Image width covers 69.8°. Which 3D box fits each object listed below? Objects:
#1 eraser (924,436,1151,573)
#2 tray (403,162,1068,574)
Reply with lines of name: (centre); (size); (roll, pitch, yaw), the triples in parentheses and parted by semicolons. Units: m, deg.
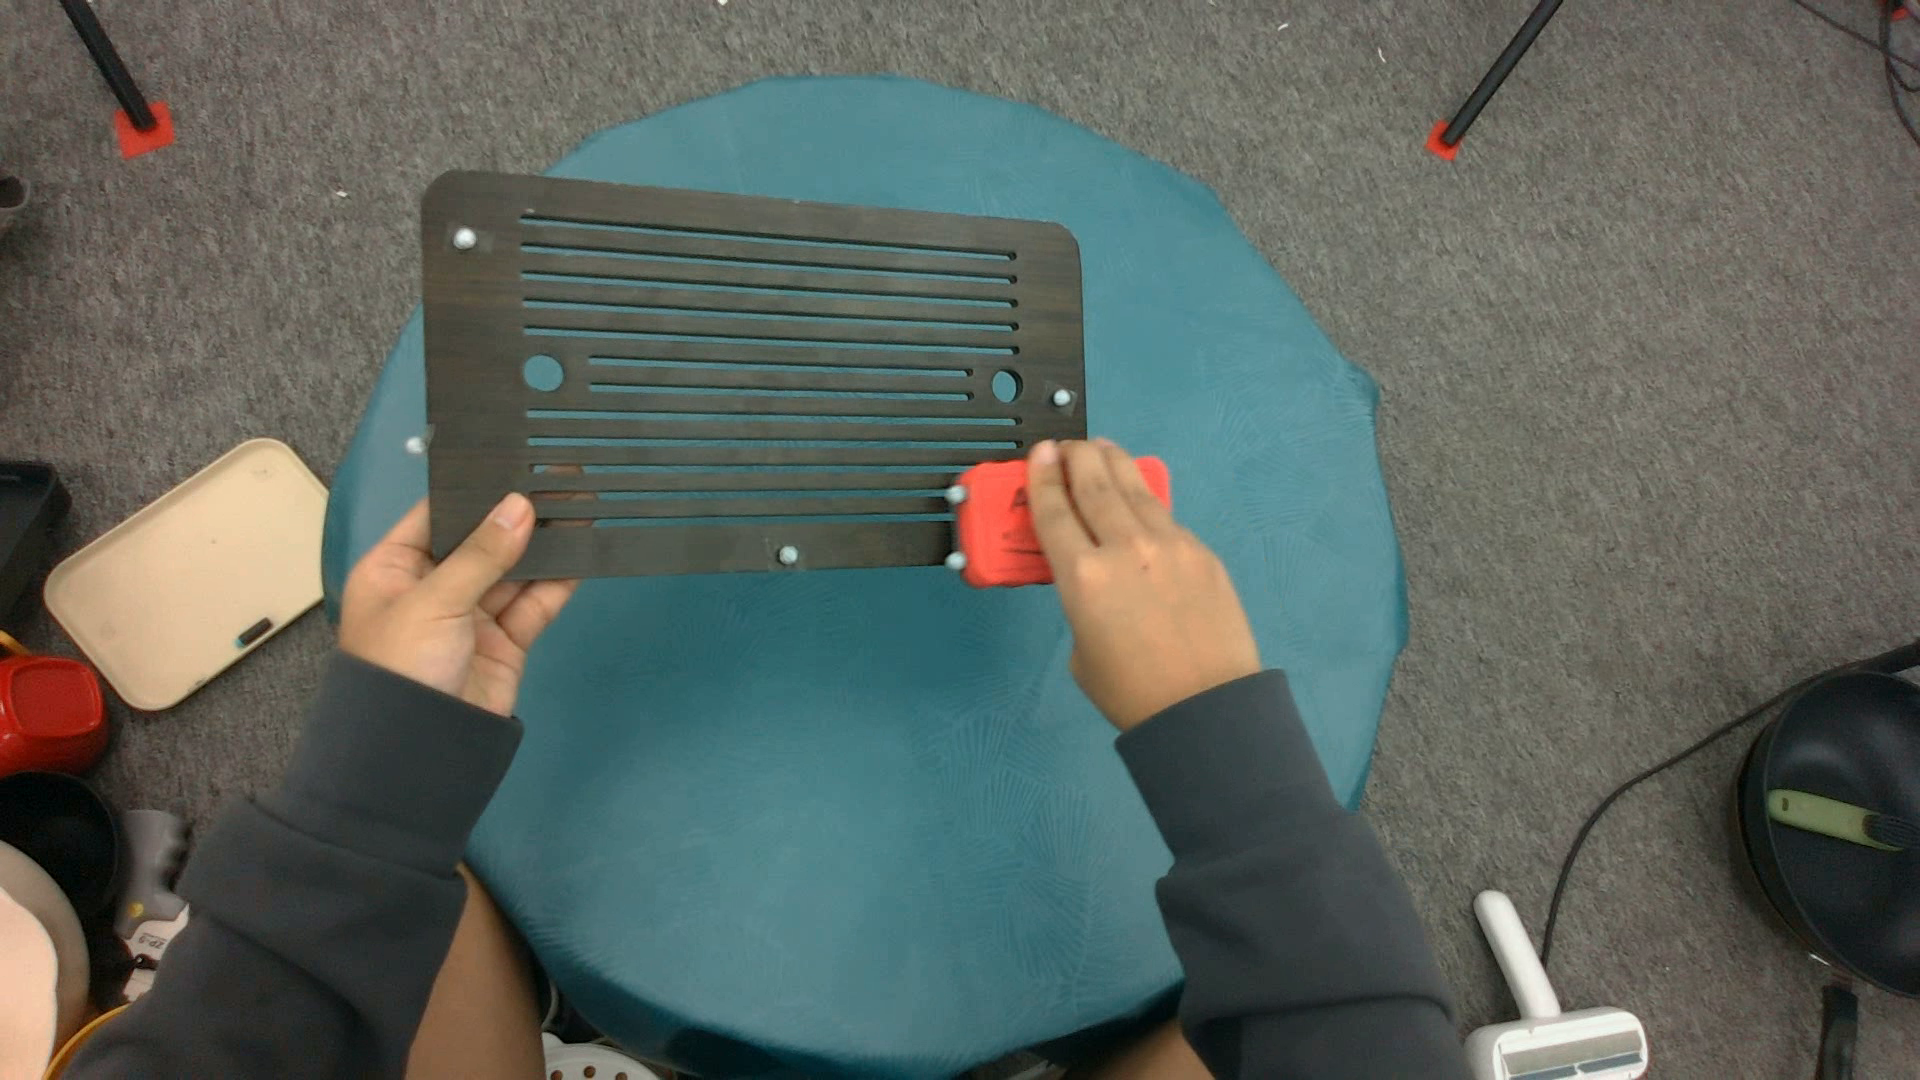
eraser: (0.038, -0.018, 0.657); (0.108, 0.023, 0.059); (-5, 82, -27)
tray: (-0.088, -0.075, 0.628); (0.306, 0.018, 0.170); (-2, 88, -26)
